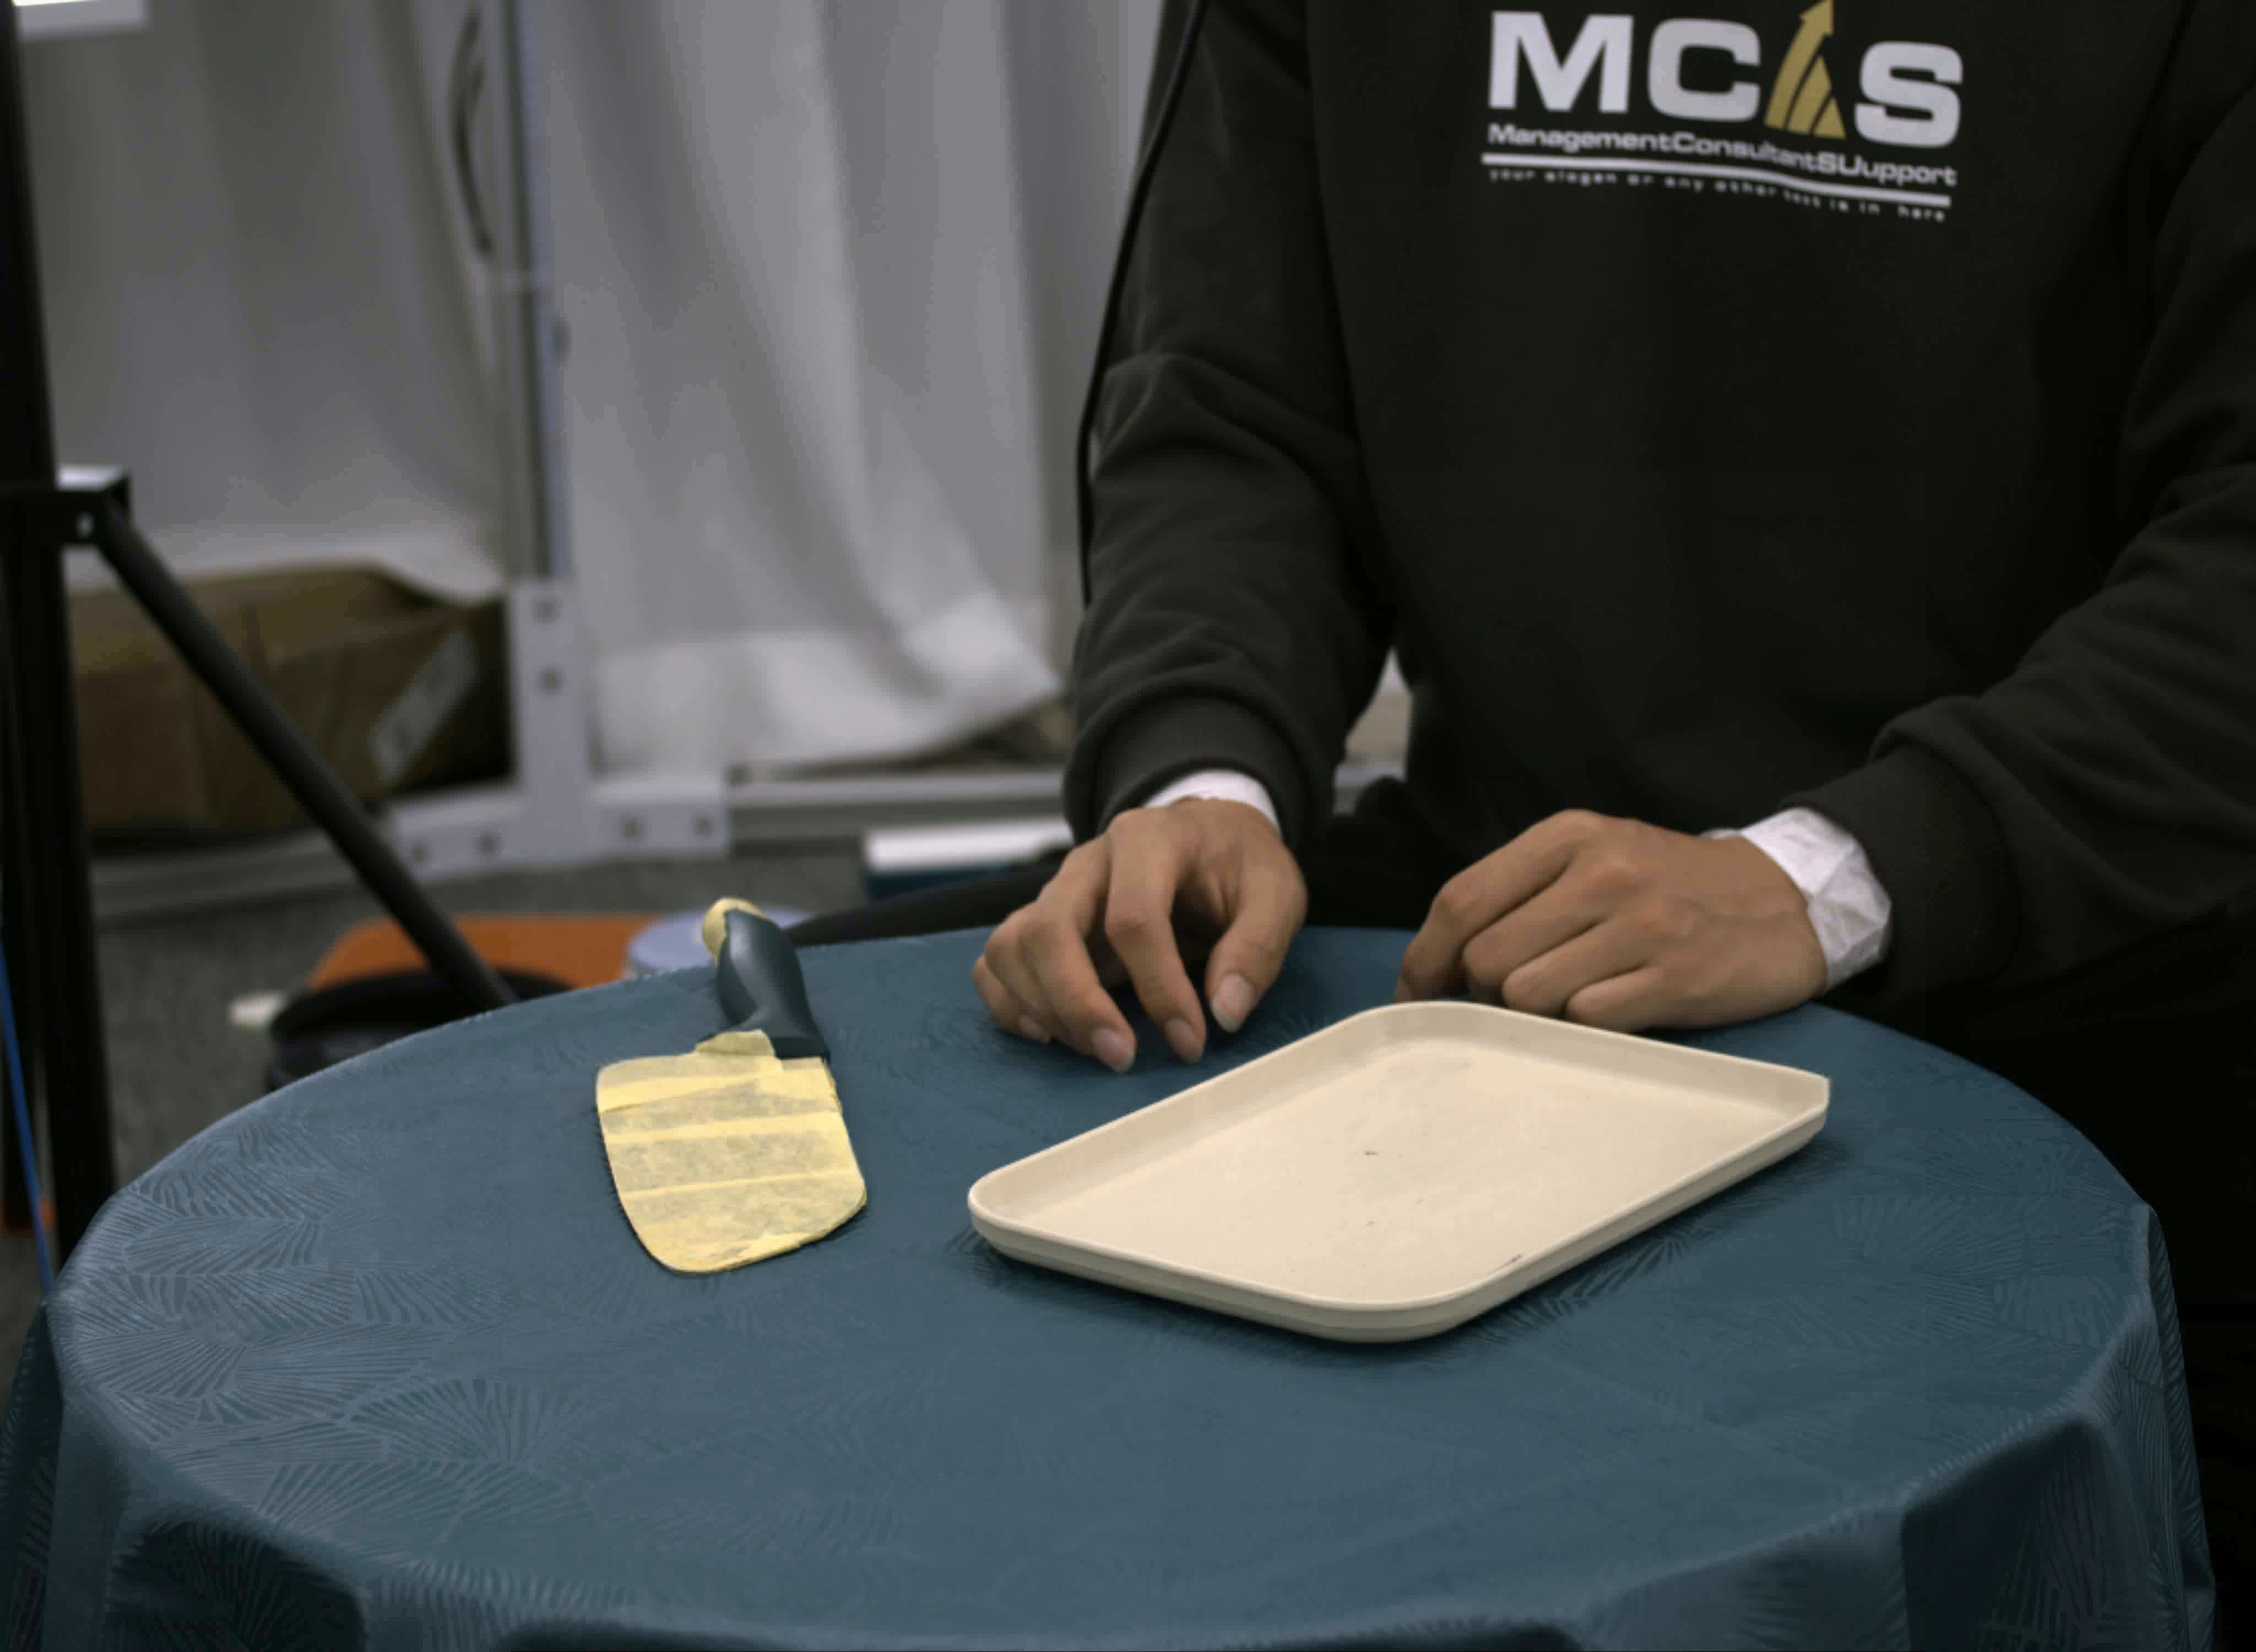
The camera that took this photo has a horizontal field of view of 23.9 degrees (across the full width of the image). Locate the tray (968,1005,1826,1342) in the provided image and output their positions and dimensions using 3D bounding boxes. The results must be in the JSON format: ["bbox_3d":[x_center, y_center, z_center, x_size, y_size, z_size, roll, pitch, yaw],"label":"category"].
[{"bbox_3d":[0.081,0.100,1.546,0.175,0.017,0.234,10,20,39],"label":"tray"}]

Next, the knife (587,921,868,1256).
[{"bbox_3d":[-0.127,0.081,1.650,0.080,0.027,0.292,-2,16,-6],"label":"knife"}]
